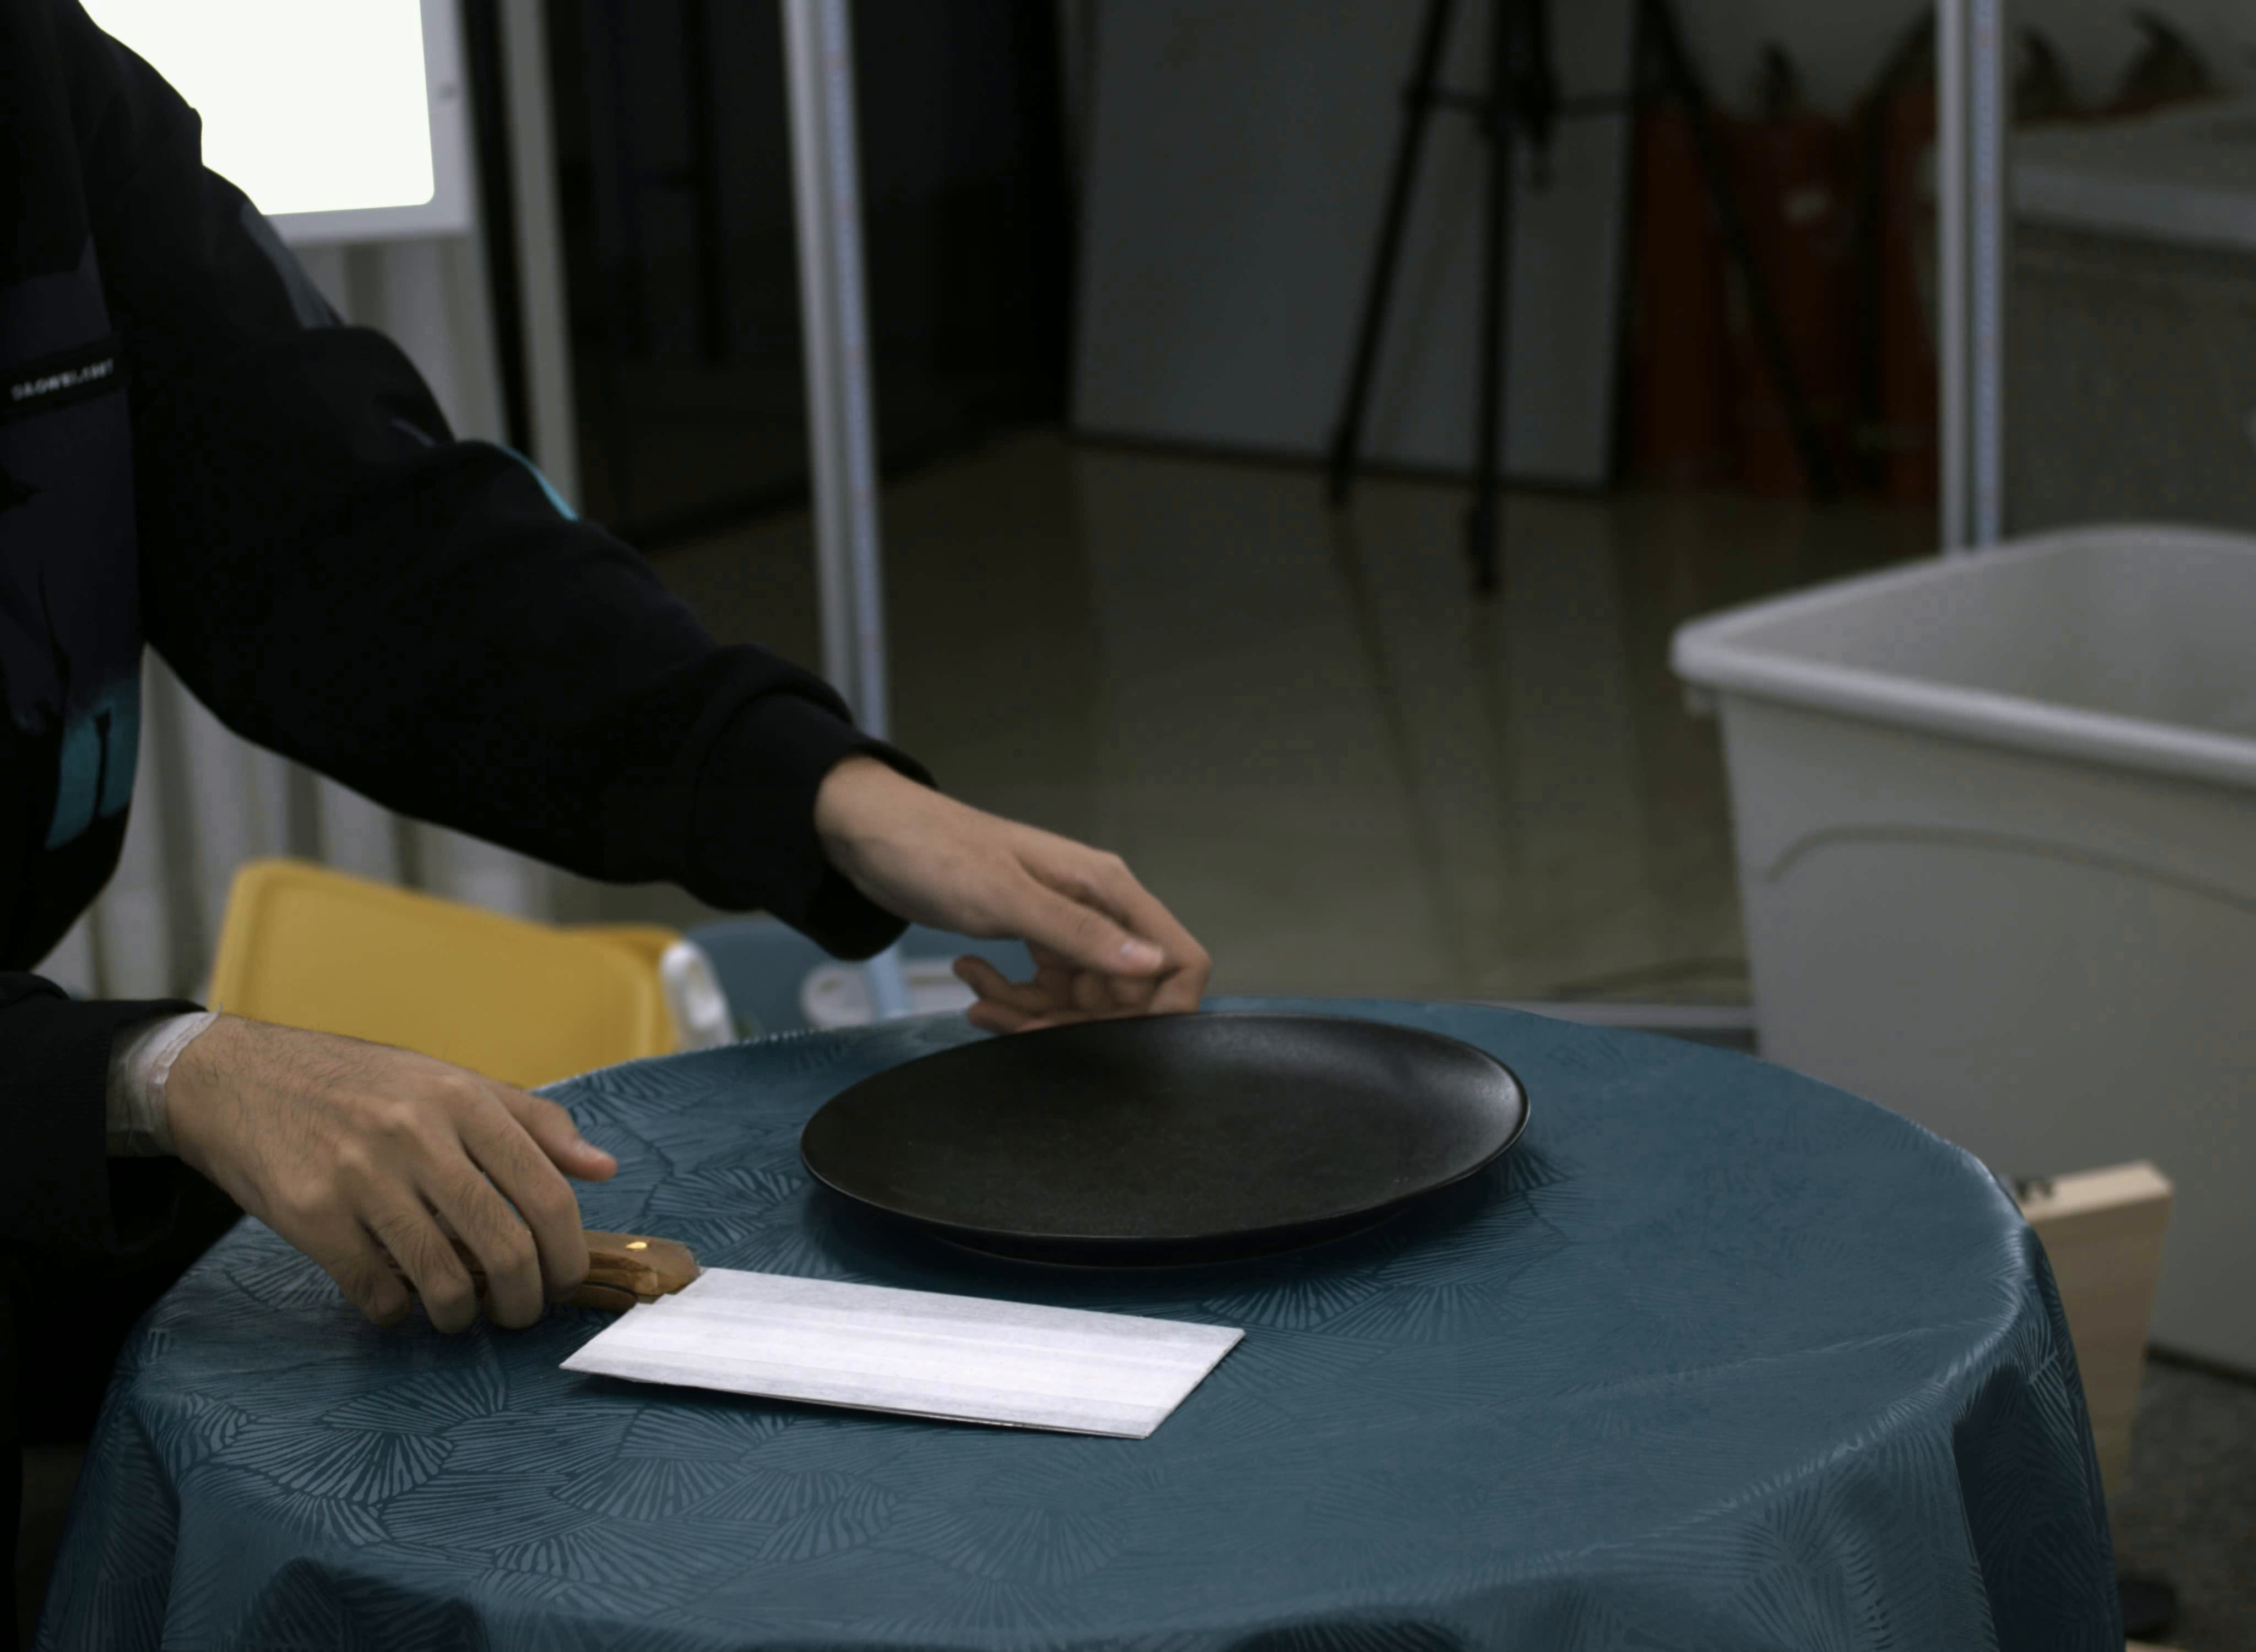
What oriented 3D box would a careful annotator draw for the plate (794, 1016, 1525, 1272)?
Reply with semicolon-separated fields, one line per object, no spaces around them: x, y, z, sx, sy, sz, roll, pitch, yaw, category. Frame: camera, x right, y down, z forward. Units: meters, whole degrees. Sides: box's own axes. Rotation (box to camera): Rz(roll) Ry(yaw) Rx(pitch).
0.011;0.107;1.775;0.241;0.024;0.245;-4;14;0;plate

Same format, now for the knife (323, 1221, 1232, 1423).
-0.119;0.154;1.643;0.305;0.021;0.092;4;17;22;knife
